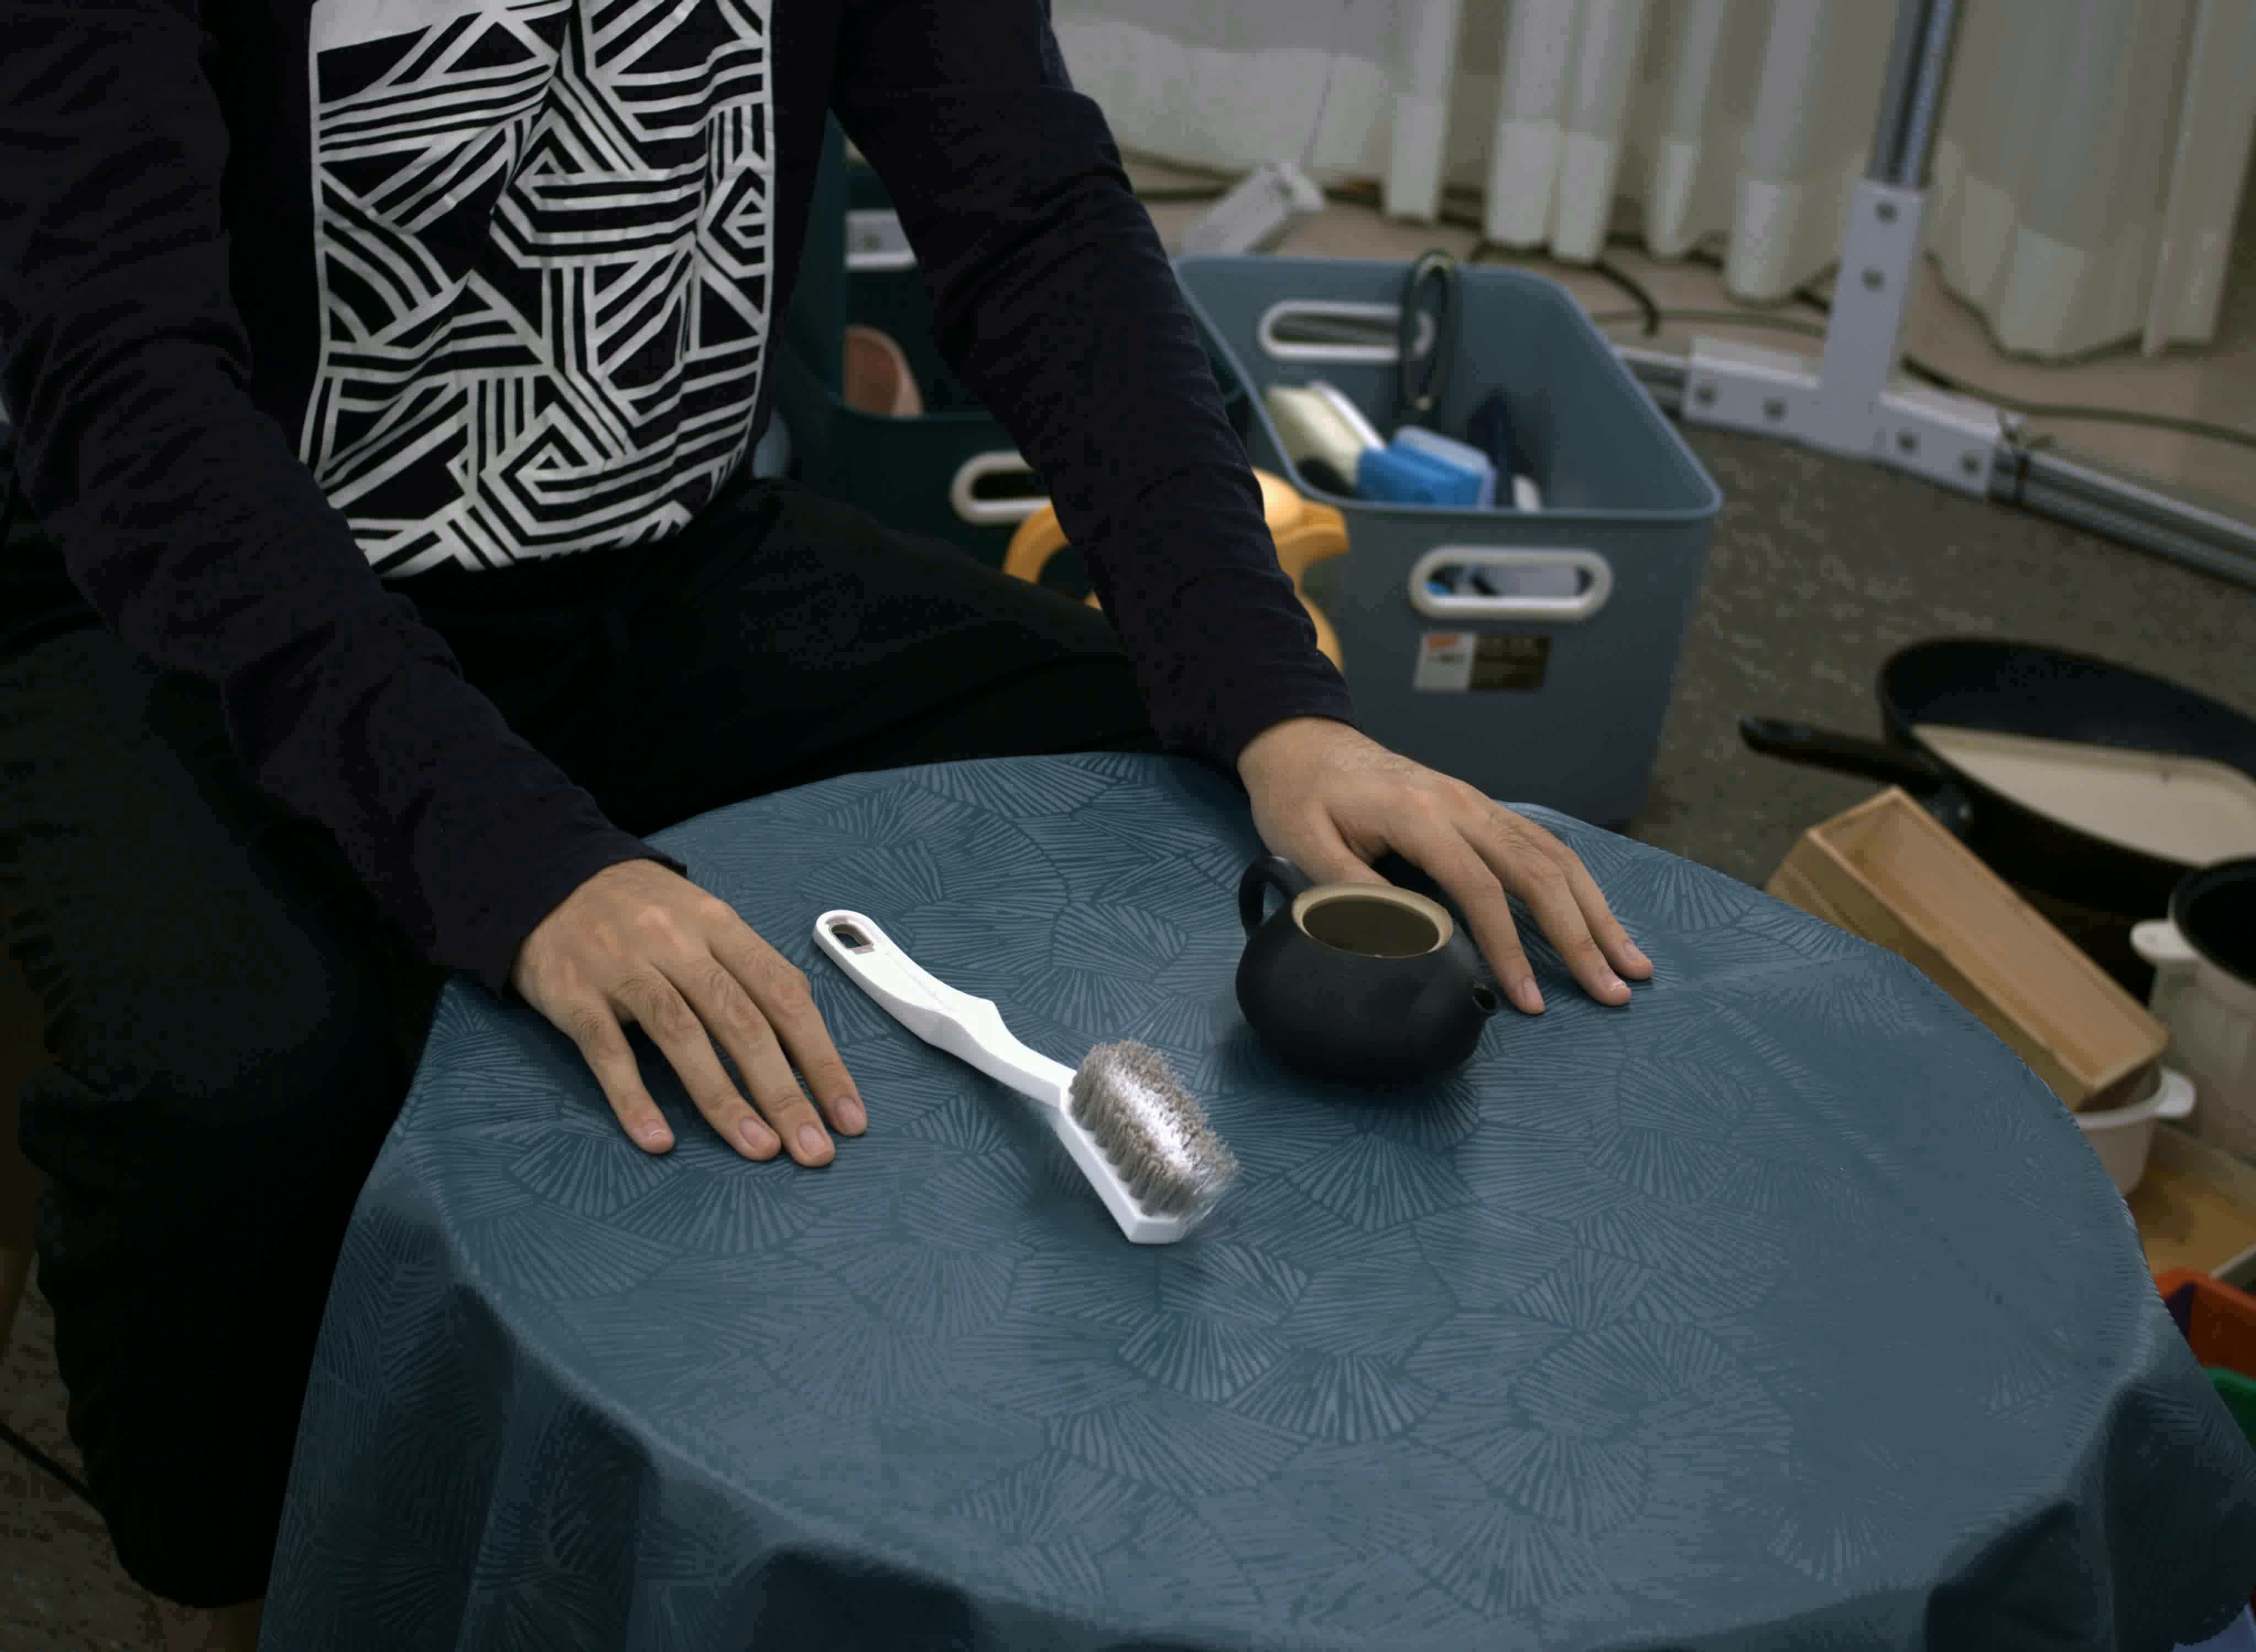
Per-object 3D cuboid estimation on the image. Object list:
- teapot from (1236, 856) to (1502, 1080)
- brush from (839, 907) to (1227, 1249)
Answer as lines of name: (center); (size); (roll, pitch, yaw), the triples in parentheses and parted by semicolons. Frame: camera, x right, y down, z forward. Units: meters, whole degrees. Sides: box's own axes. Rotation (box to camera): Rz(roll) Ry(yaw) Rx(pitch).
teapot: (0.084, 0.055, 1.901); (0.090, 0.053, 0.134); (-12, 32, -38)
brush: (-0.038, 0.070, 1.851); (0.034, 0.050, 0.246); (-13, 33, -26)
